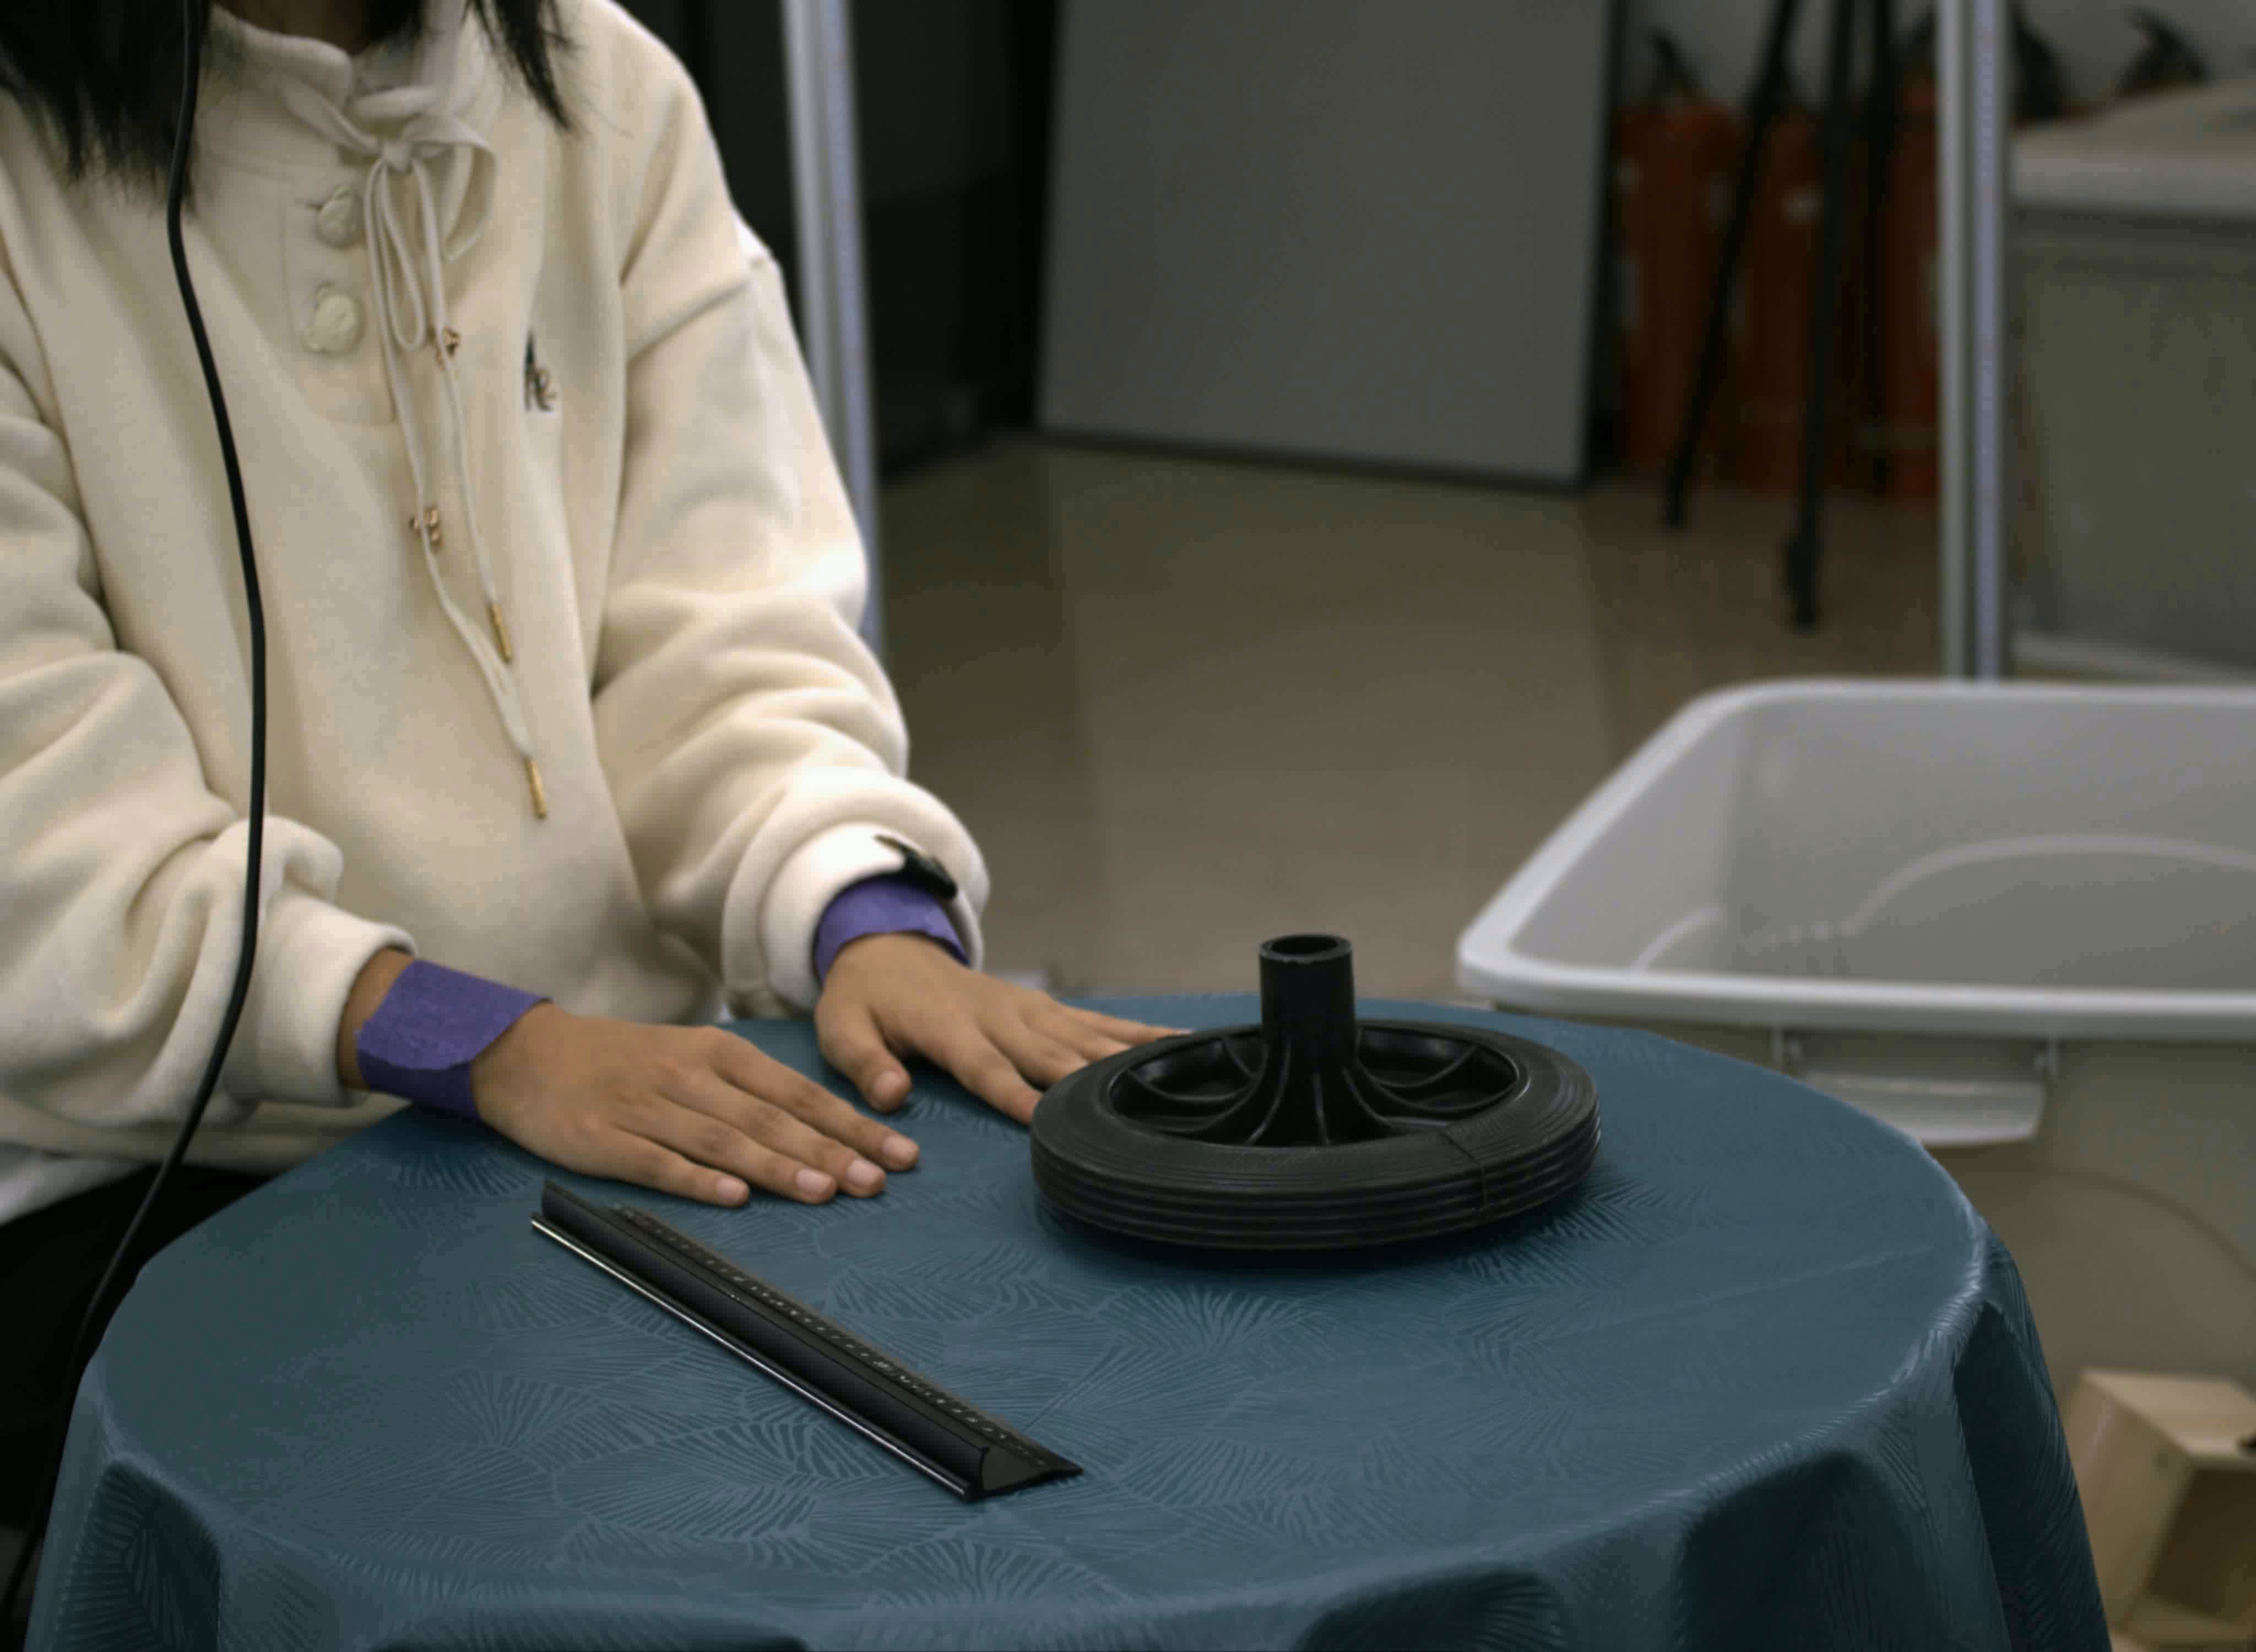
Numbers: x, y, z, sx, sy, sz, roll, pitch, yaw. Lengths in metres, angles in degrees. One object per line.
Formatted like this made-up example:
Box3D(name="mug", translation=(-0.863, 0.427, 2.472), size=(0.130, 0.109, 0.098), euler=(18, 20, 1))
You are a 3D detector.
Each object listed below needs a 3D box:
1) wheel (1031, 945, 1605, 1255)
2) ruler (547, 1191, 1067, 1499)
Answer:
Box3D(name="wheel", translation=(0.061, 0.081, 1.753), size=(0.188, 0.080, 0.187), euler=(-3, 14, 5))
Box3D(name="ruler", translation=(-0.103, 0.151, 1.645), size=(0.038, 0.017, 0.316), euler=(-7, 13, -26))
